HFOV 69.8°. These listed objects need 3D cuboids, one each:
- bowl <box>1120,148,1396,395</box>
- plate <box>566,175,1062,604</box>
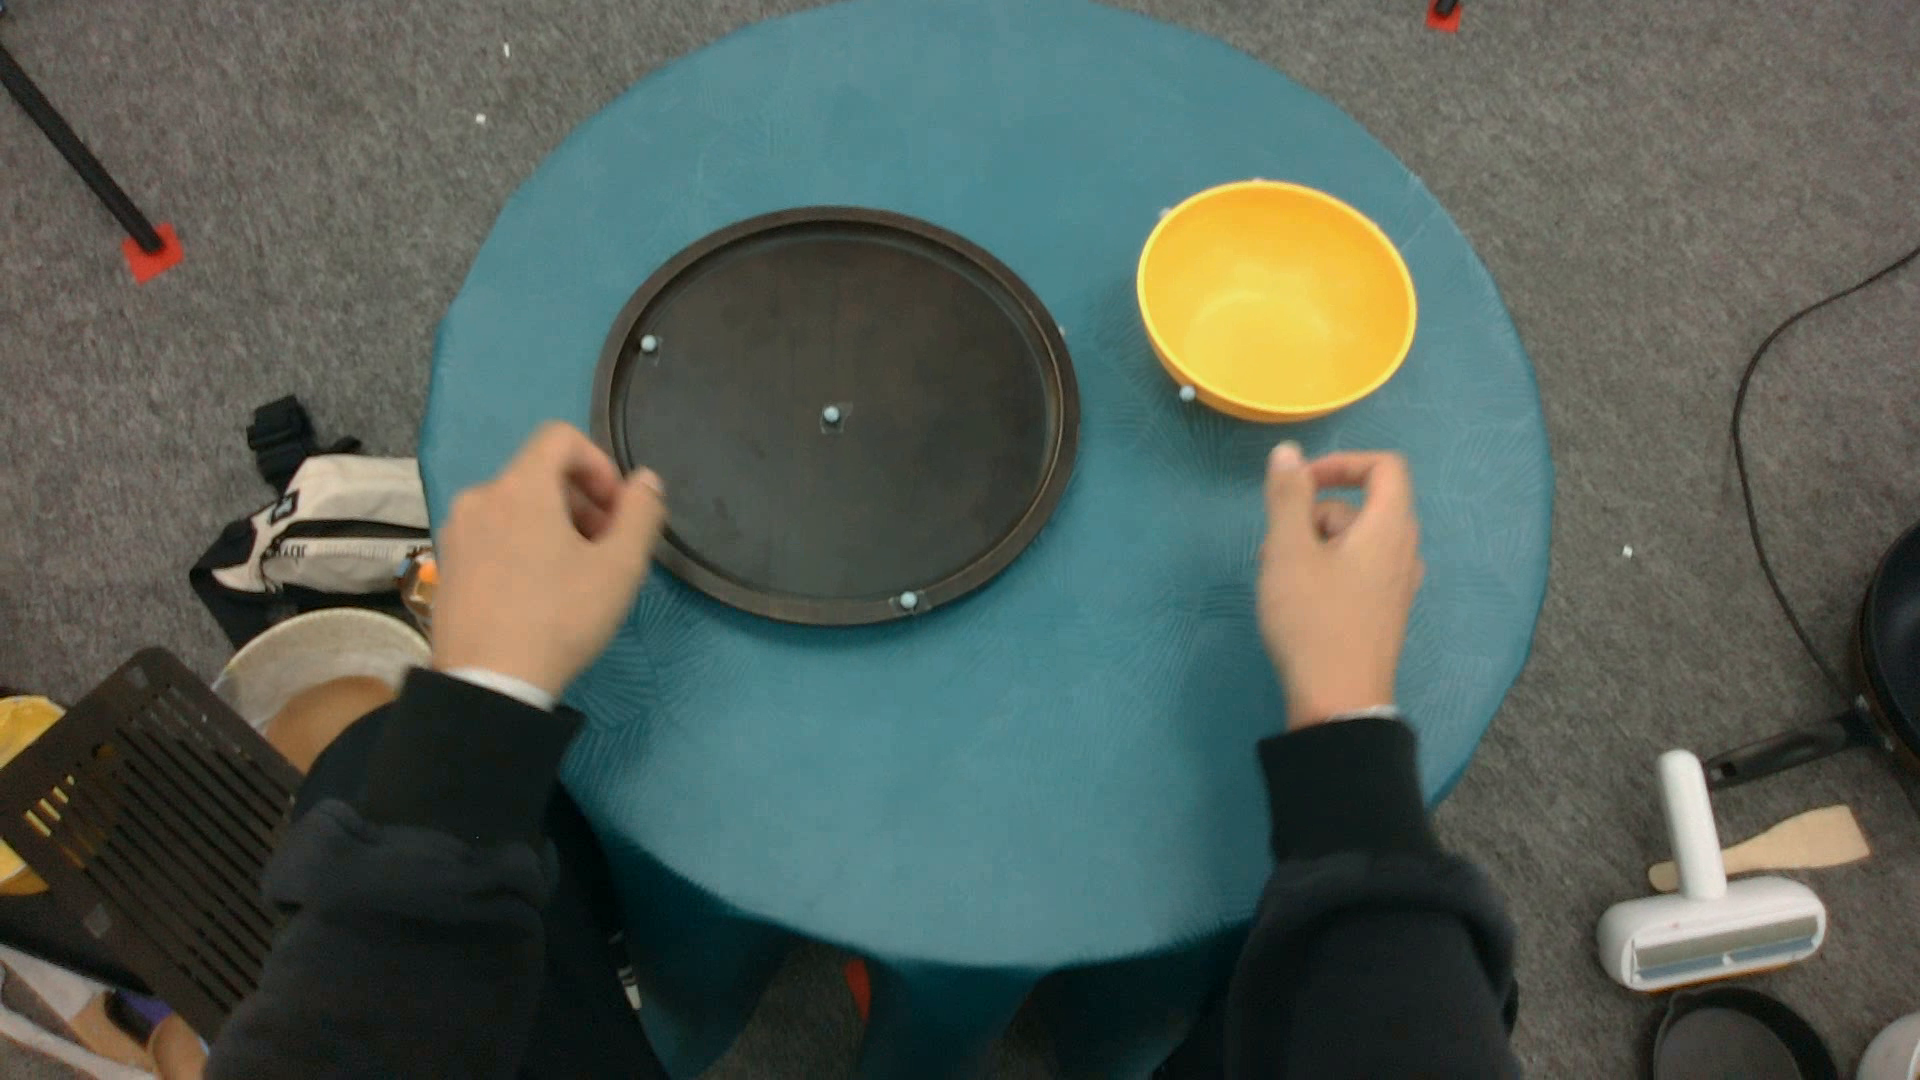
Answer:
[{"bbox_3d":[0.153,-0.133,0.738,0.145,0.060,0.146,1,68,-3],"label":"bowl"},{"bbox_3d":[-0.073,-0.083,0.714,0.255,0.029,0.255,2,67,-6],"label":"plate"}]
